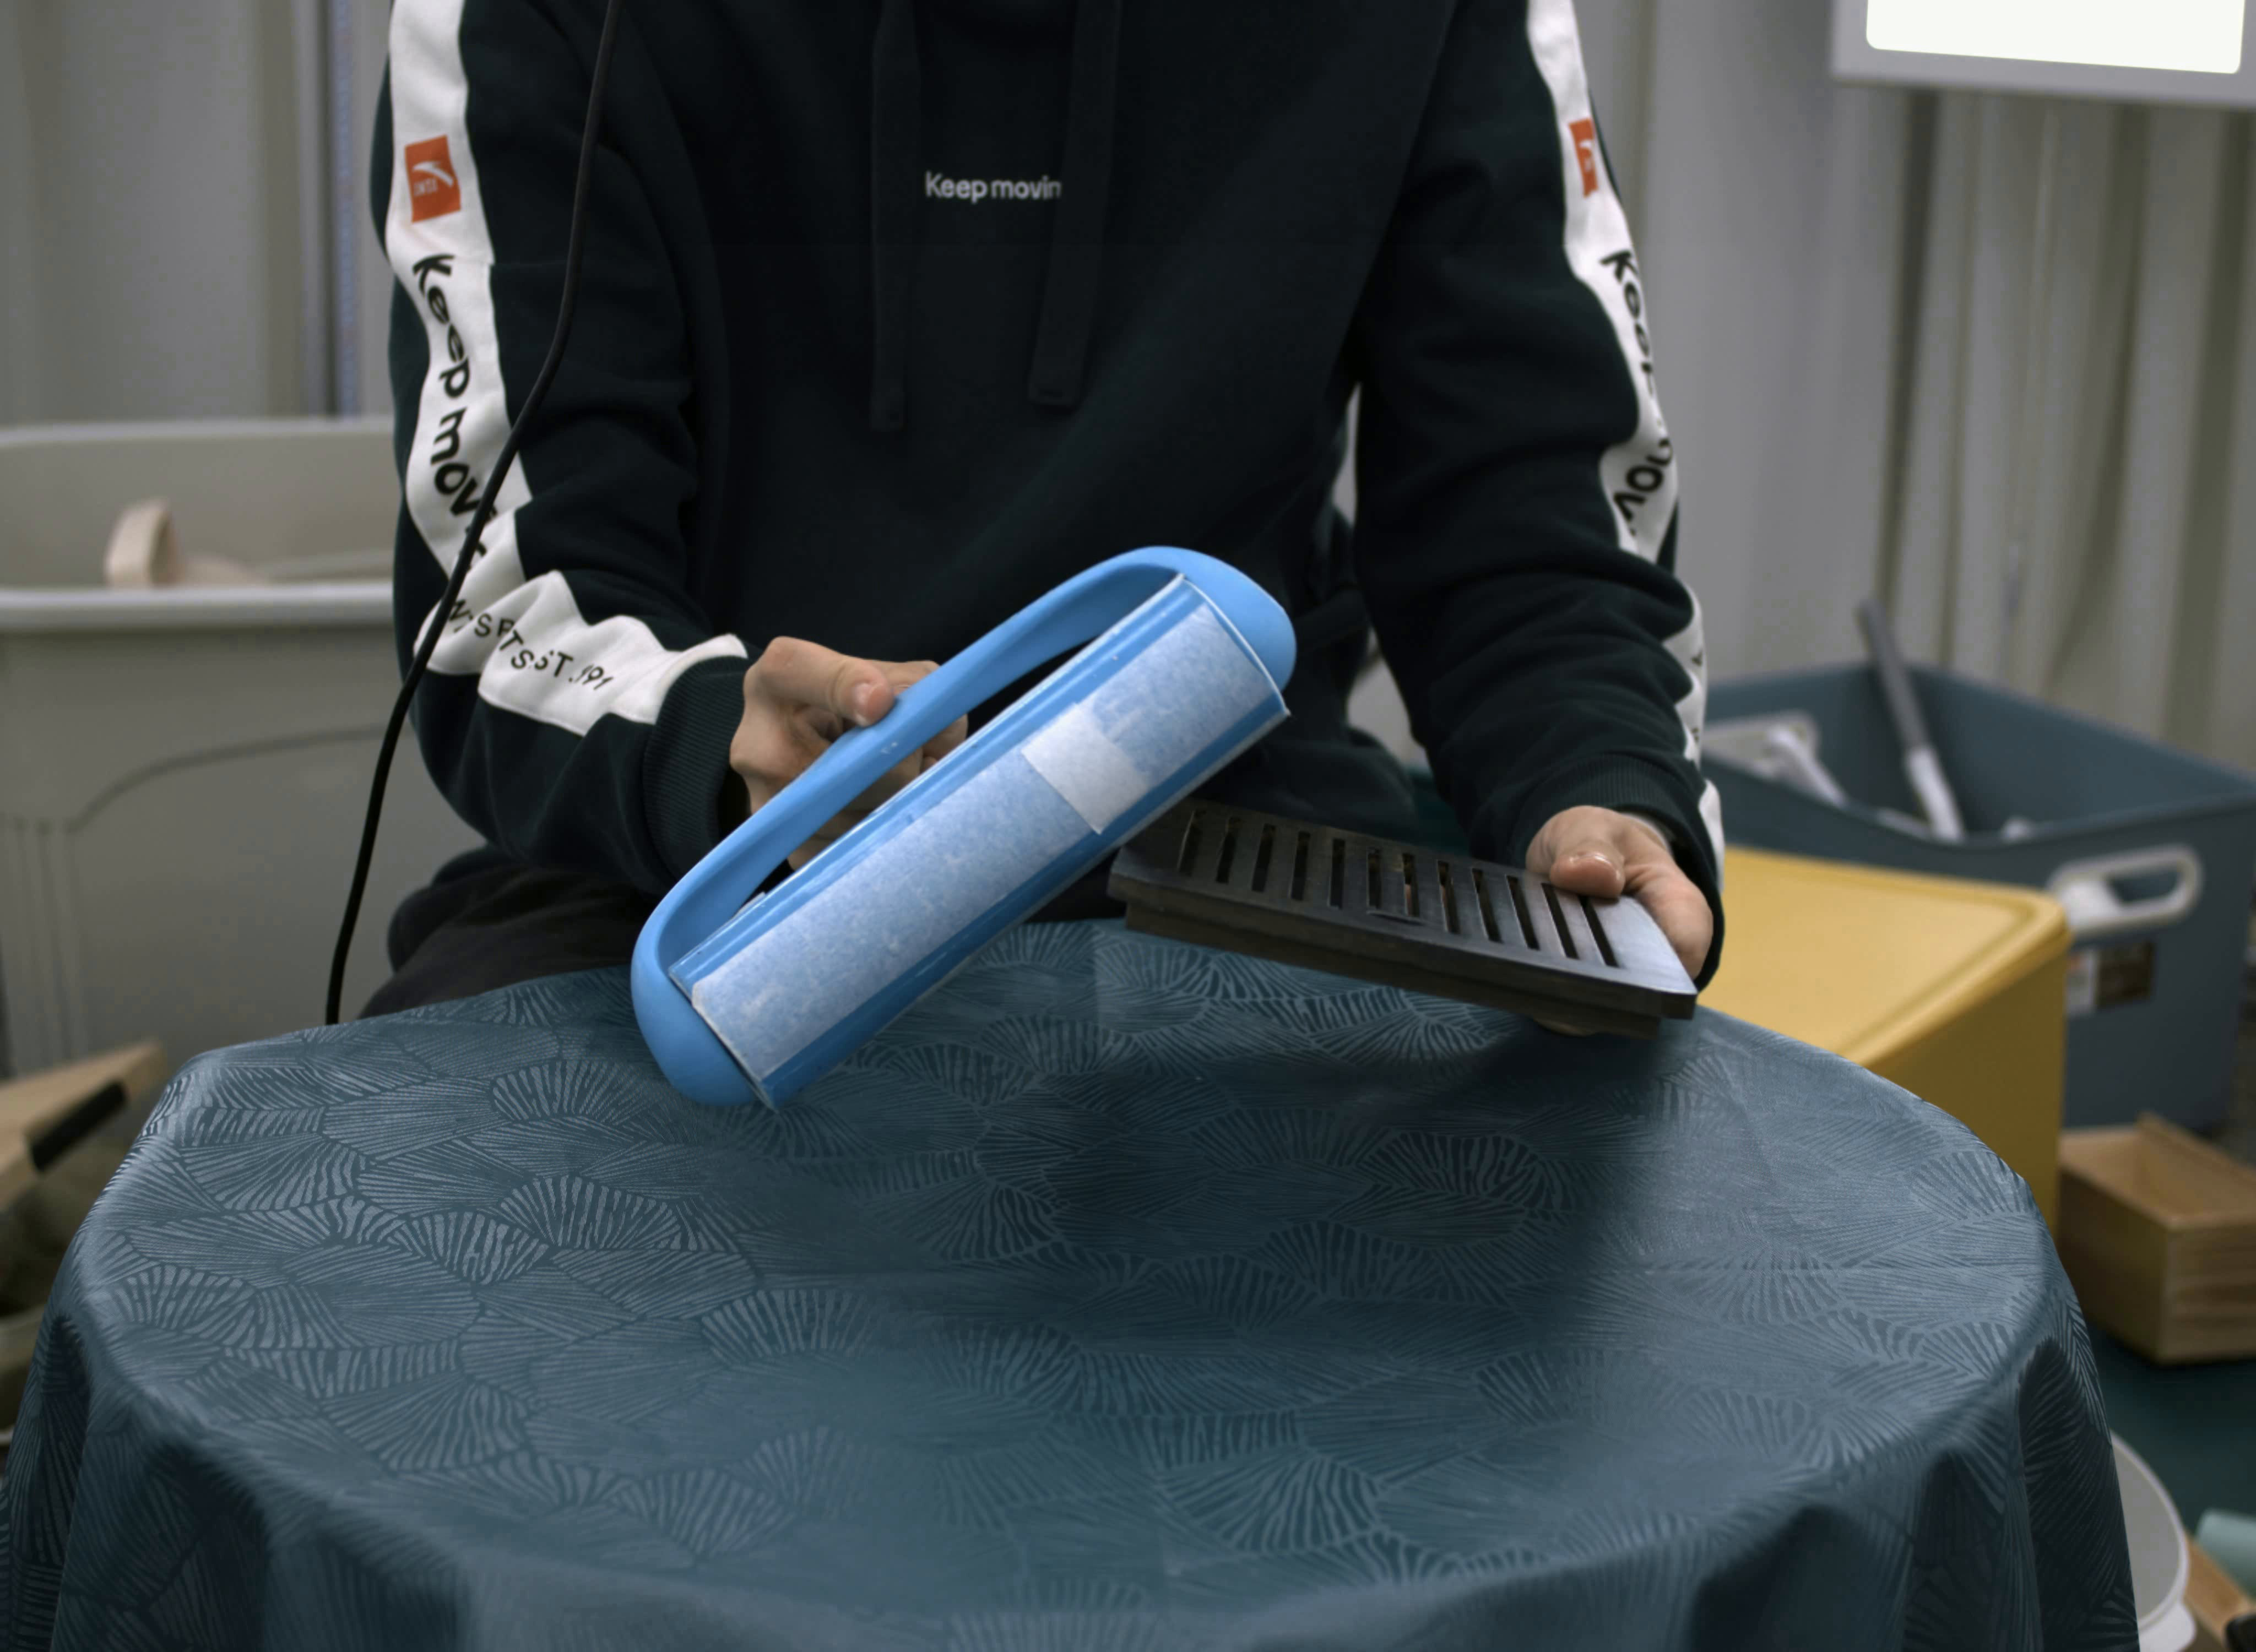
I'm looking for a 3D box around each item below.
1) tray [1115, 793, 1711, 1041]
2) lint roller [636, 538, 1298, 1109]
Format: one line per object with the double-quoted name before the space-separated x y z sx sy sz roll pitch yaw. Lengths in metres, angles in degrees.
"tray" 0.084 0.025 1.606 0.169 0.019 0.305 12 5 1
"lint roller" -0.063 -0.006 1.594 0.229 0.068 0.178 -41 19 -10
